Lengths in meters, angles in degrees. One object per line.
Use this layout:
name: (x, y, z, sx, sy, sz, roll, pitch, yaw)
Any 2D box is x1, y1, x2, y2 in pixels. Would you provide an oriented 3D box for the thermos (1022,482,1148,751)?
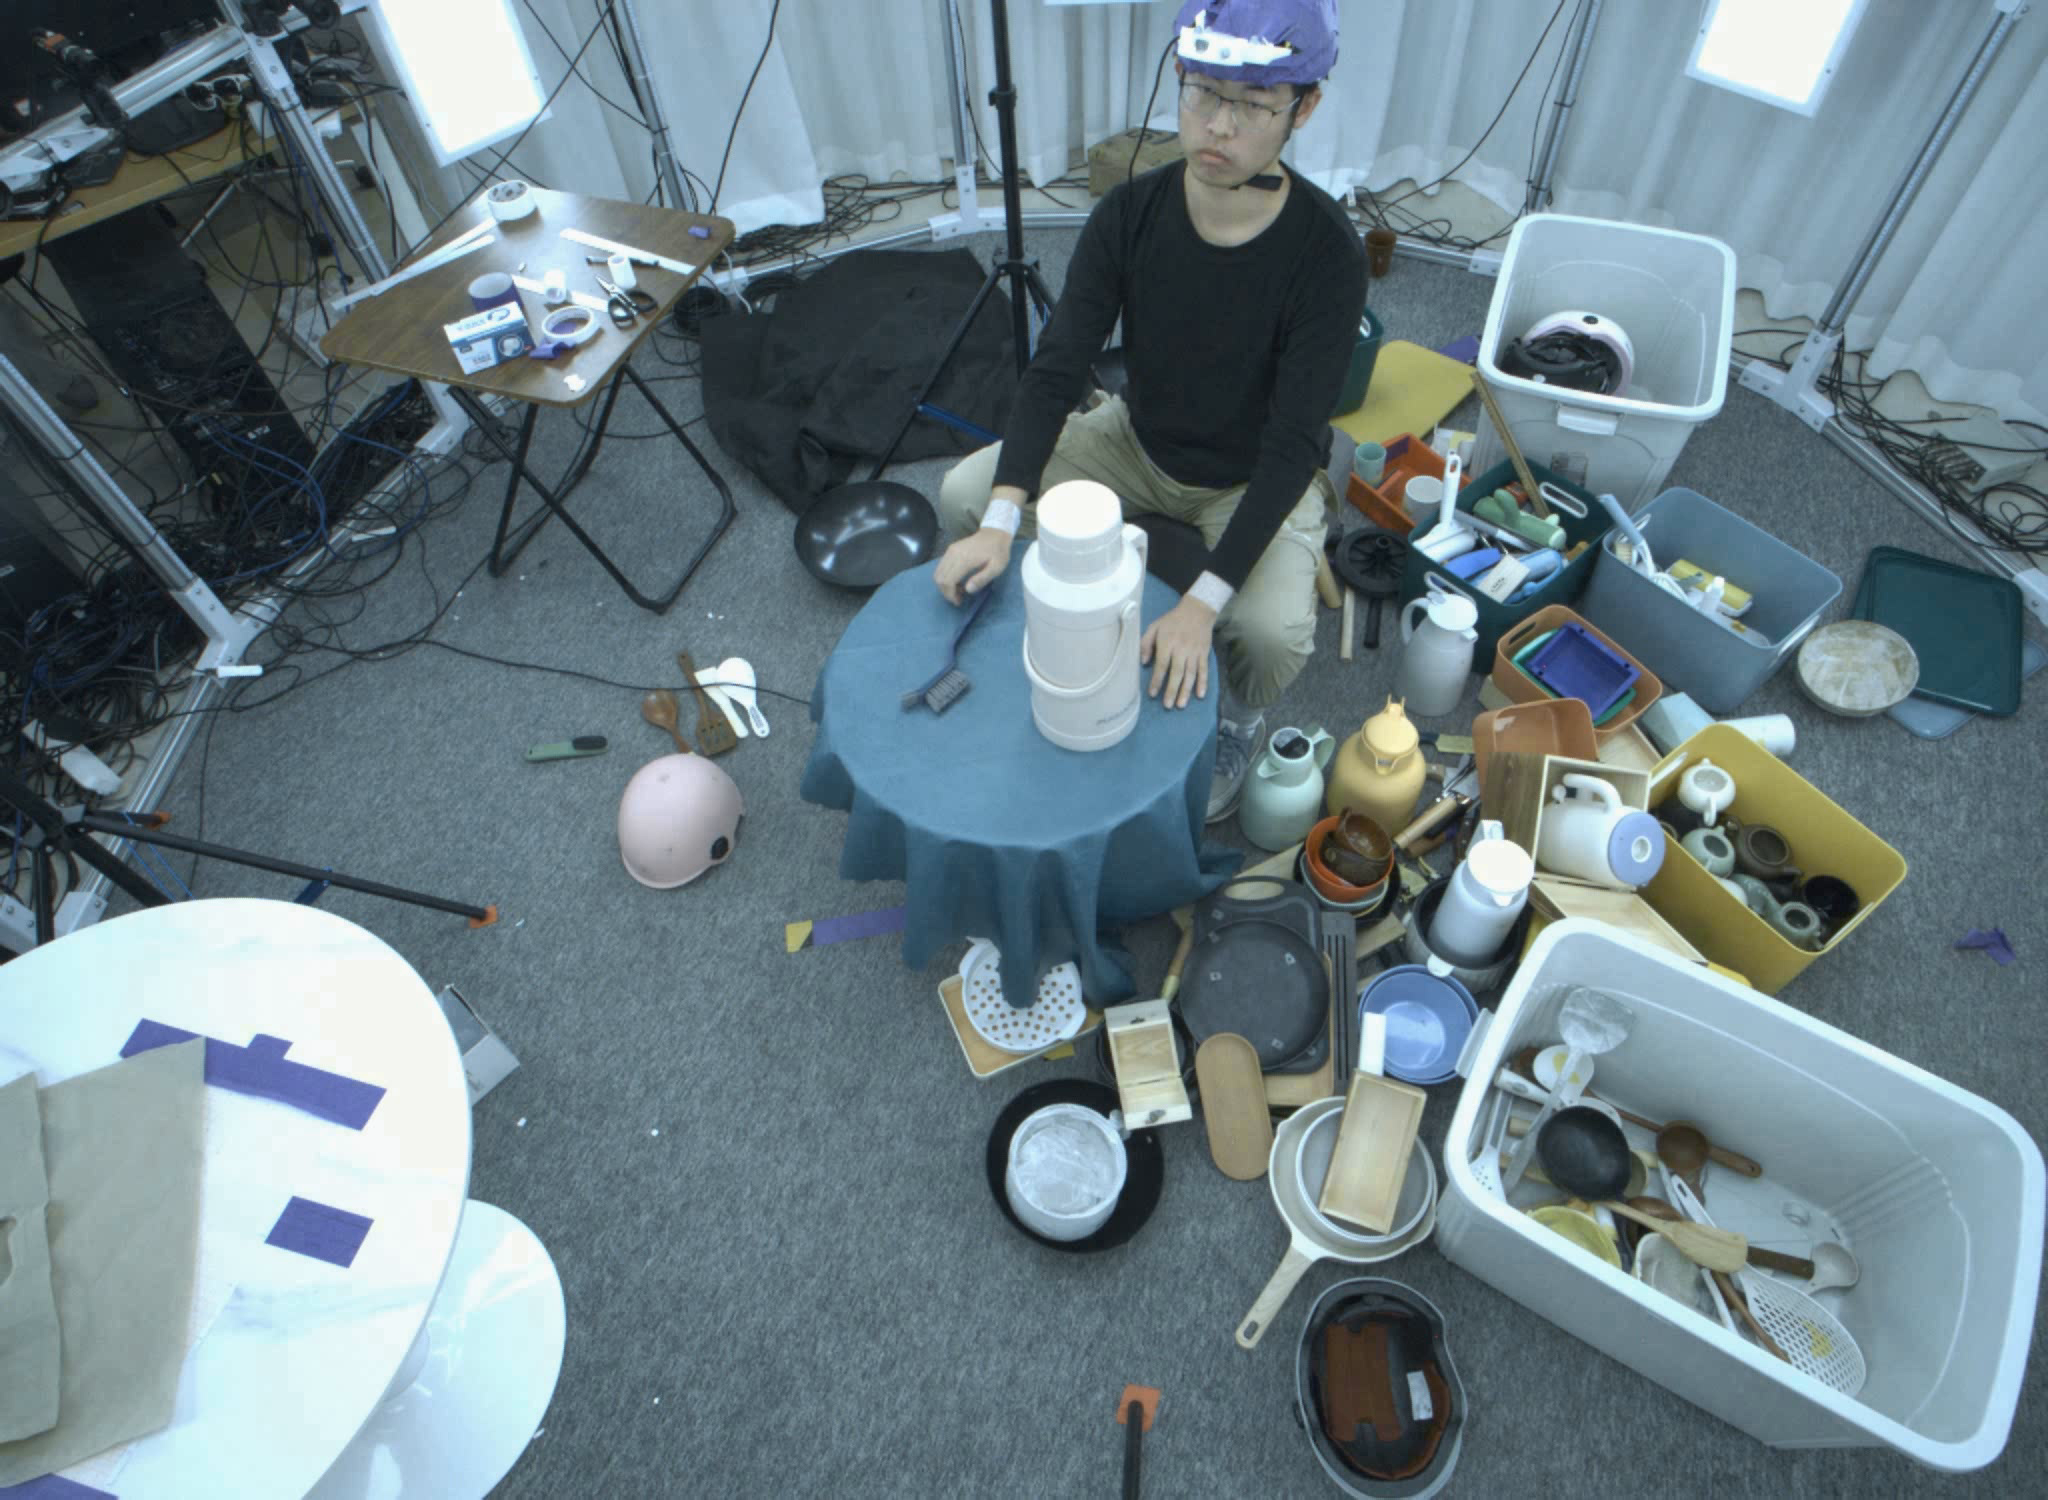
thermos: (0.093, -0.185, 1.671, 0.172, 0.411, 0.208, 36, 64, 27)

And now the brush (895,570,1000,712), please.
brush: (-0.111, -0.173, 1.893, 0.095, 0.034, 0.272, 13, 59, 10)
